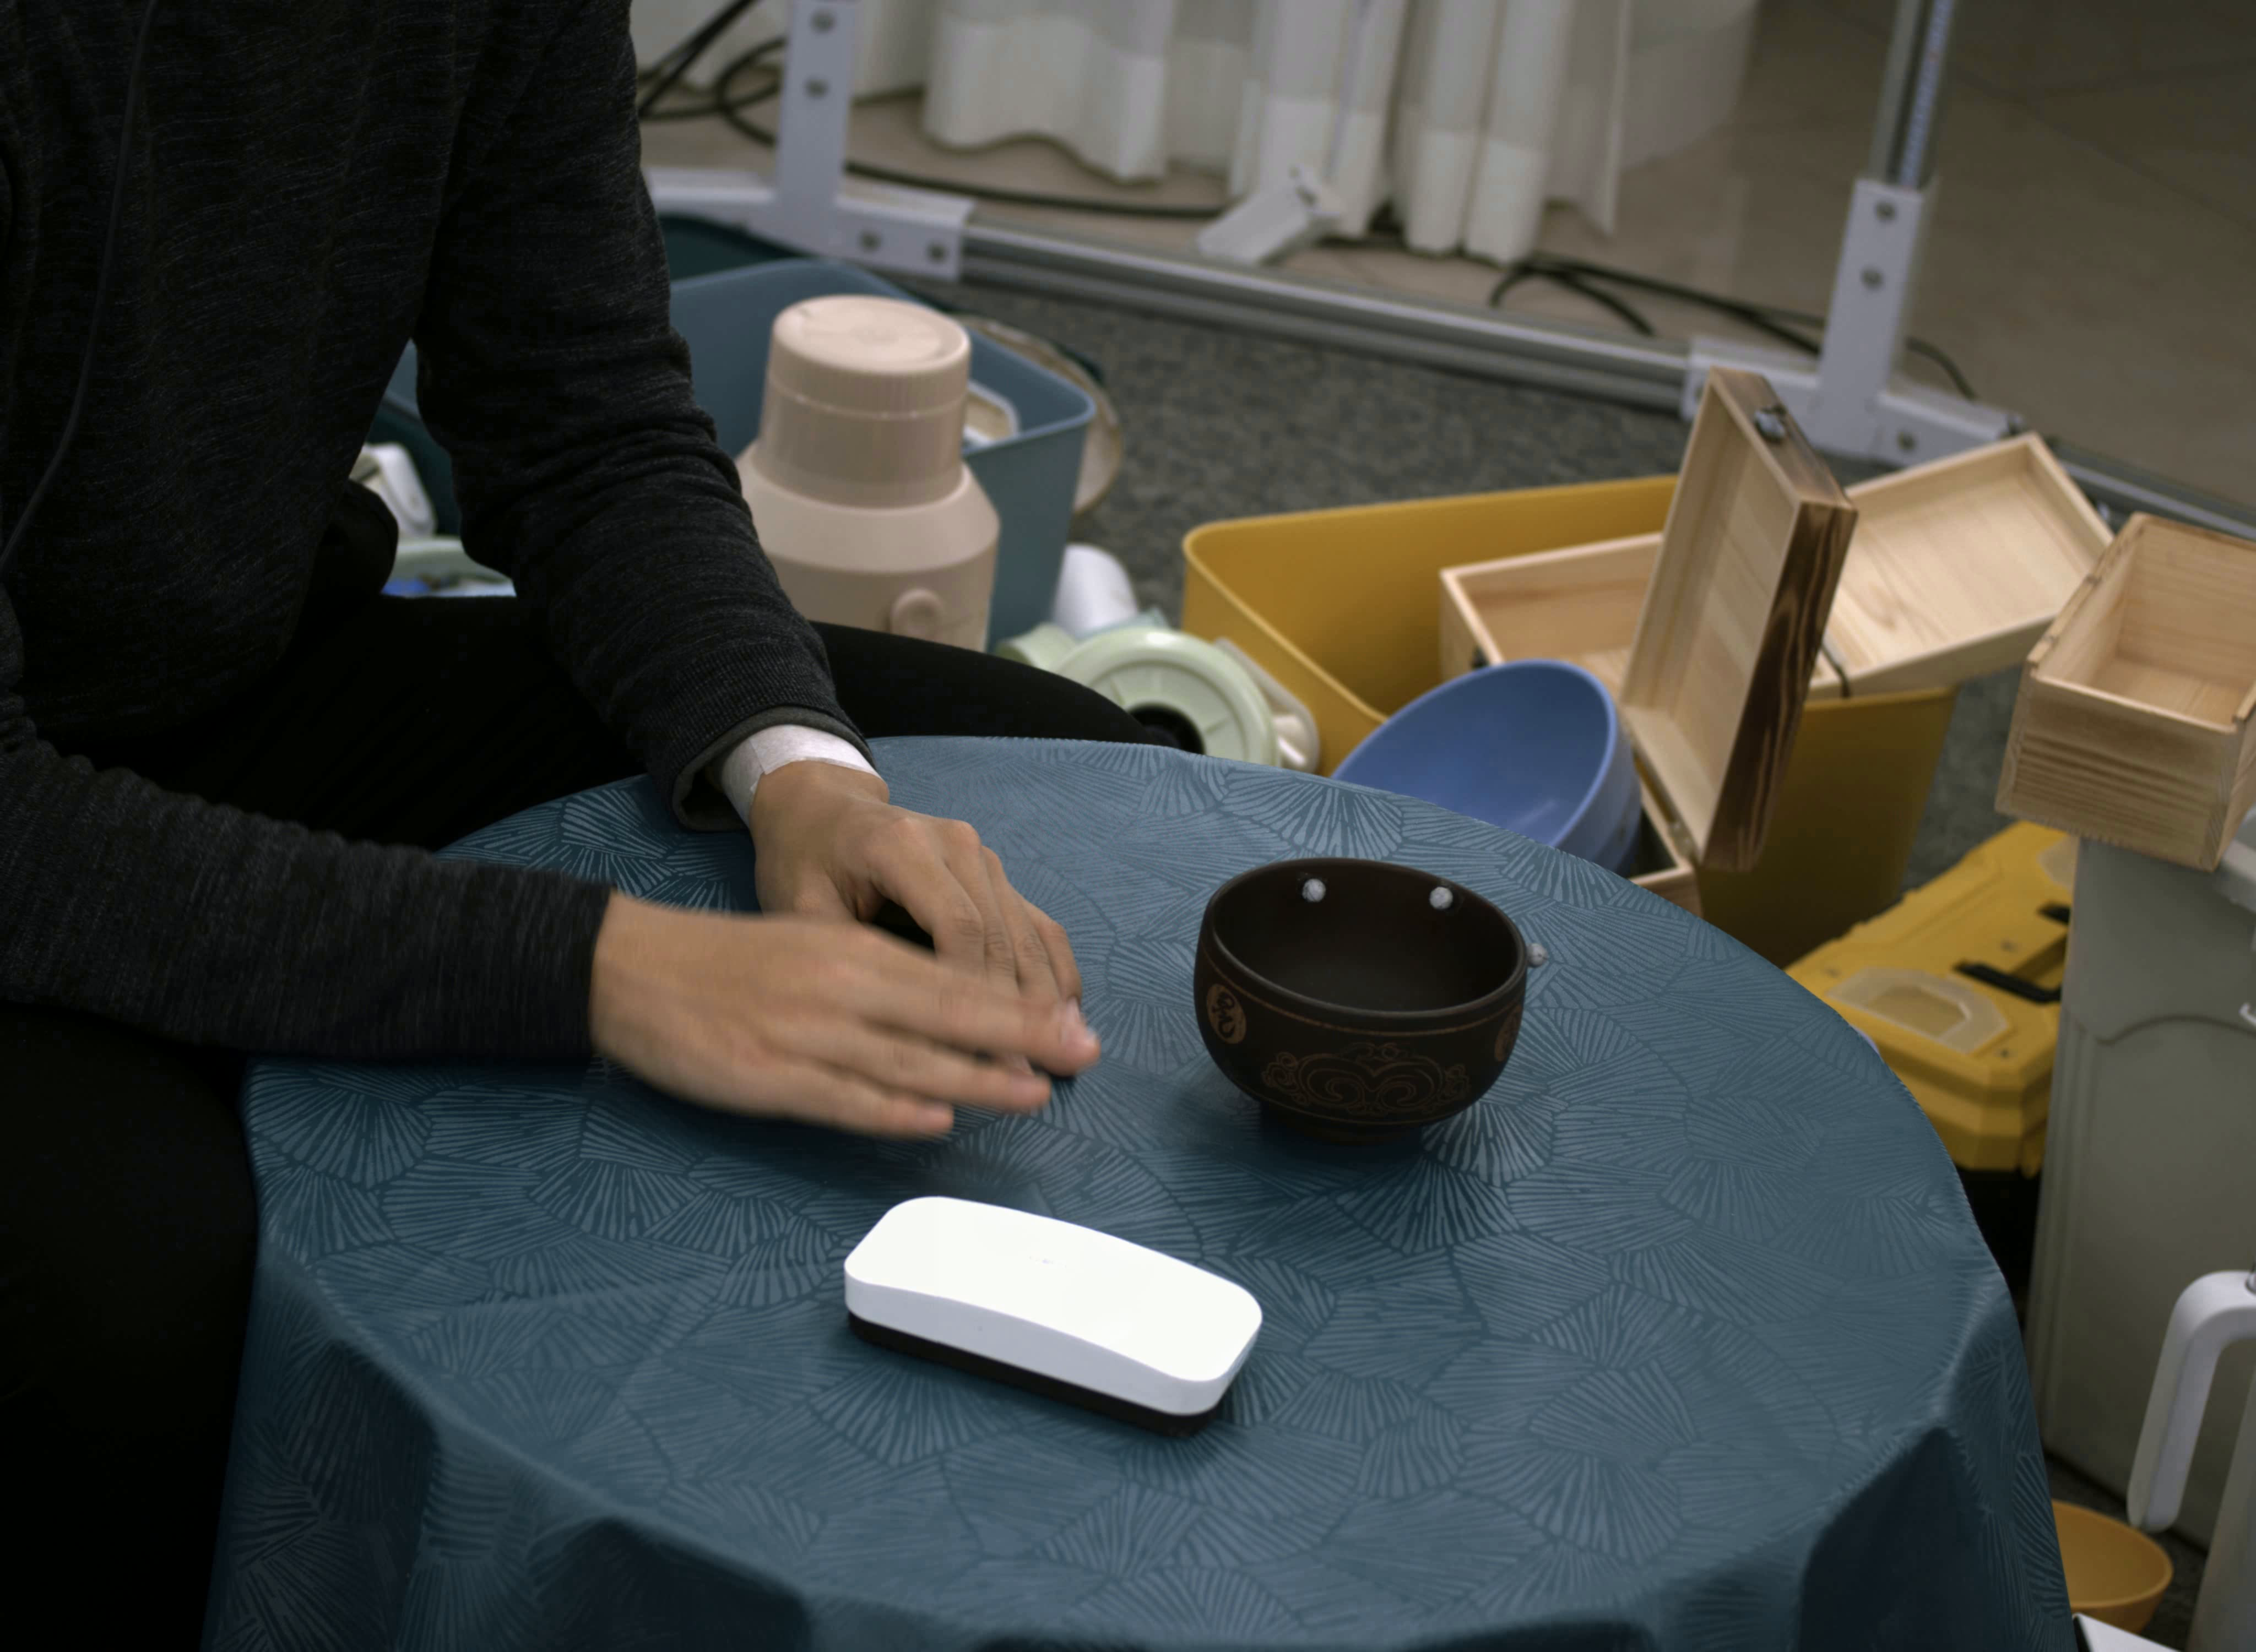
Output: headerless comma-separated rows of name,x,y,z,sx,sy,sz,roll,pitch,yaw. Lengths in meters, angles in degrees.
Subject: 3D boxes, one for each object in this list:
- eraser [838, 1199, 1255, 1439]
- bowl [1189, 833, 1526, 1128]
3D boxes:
eraser,-0.026,0.154,1.702,0.131,0.034,0.063,17,27,17
bowl,0.079,0.062,1.859,0.117,0.069,0.119,0,32,-1
